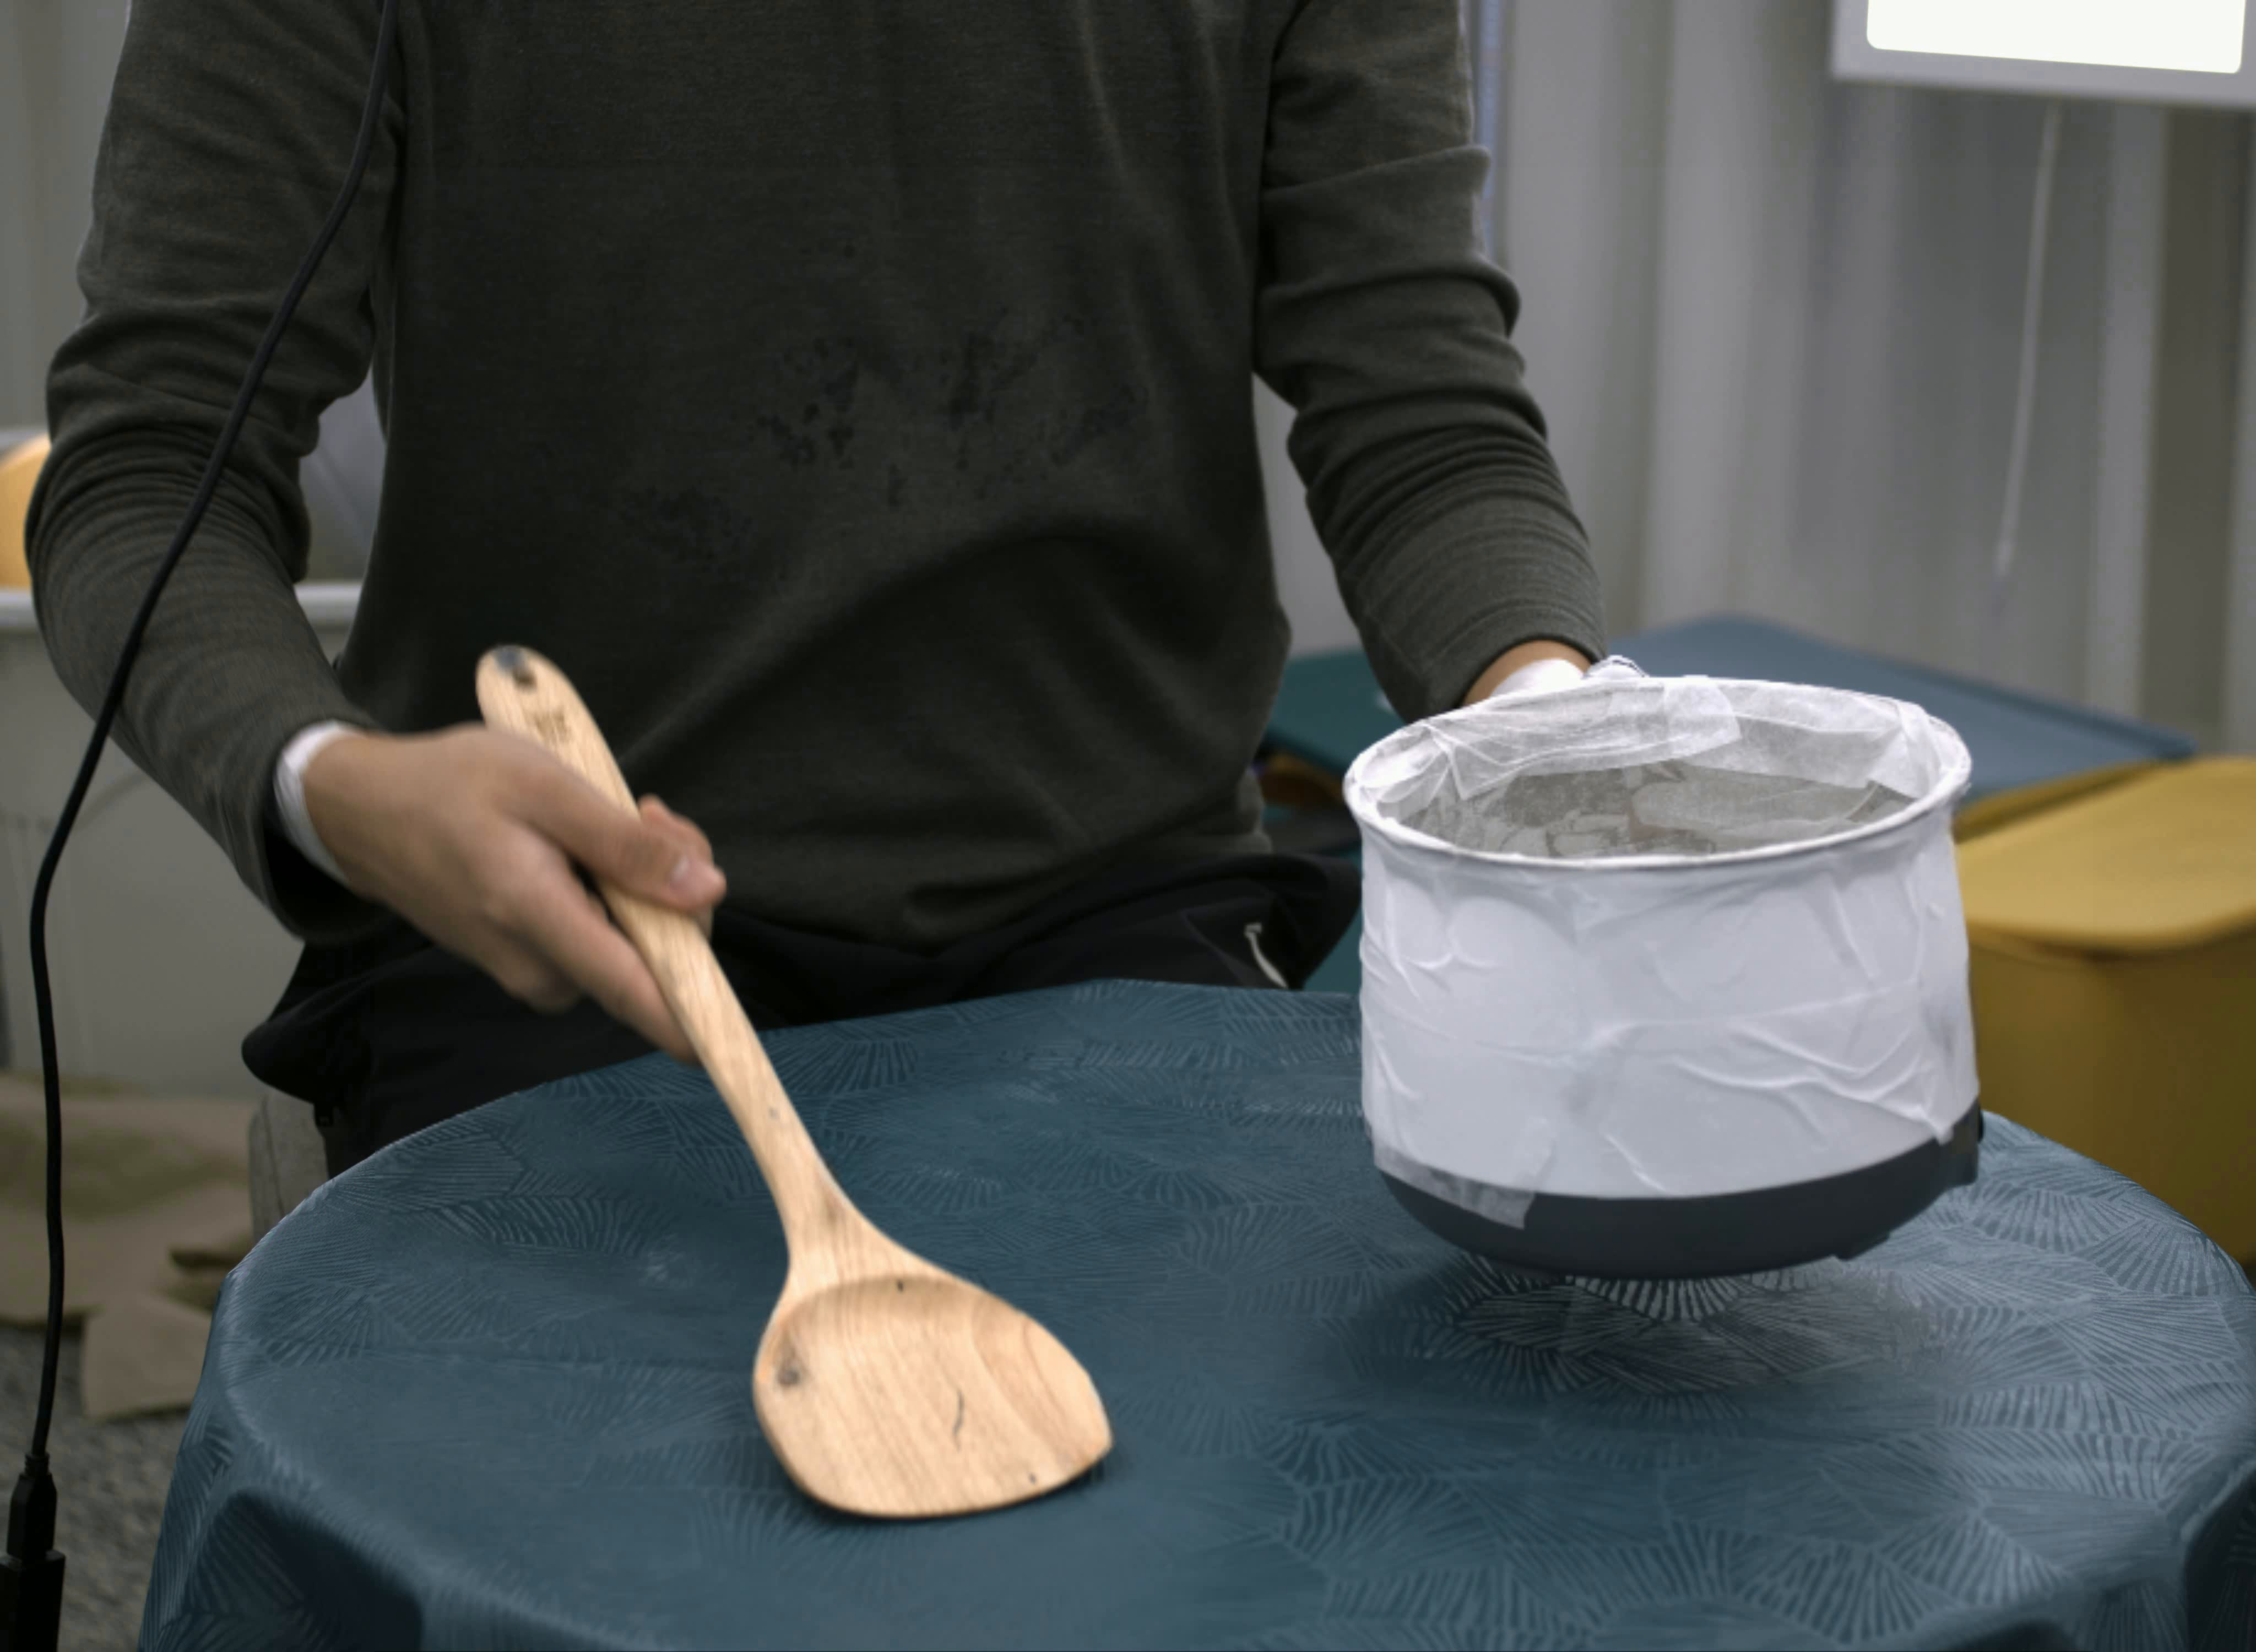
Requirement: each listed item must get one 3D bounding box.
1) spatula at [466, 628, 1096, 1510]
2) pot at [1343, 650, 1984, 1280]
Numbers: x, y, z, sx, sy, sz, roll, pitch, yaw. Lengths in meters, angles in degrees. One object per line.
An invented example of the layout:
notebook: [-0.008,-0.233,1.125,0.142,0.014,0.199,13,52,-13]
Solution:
spatula: [-0.122,0.060,1.509,0.096,0.018,0.385,-7,43,-27]
pot: [0.152,0.034,1.523,0.178,0.138,0.232,-4,18,-2]
